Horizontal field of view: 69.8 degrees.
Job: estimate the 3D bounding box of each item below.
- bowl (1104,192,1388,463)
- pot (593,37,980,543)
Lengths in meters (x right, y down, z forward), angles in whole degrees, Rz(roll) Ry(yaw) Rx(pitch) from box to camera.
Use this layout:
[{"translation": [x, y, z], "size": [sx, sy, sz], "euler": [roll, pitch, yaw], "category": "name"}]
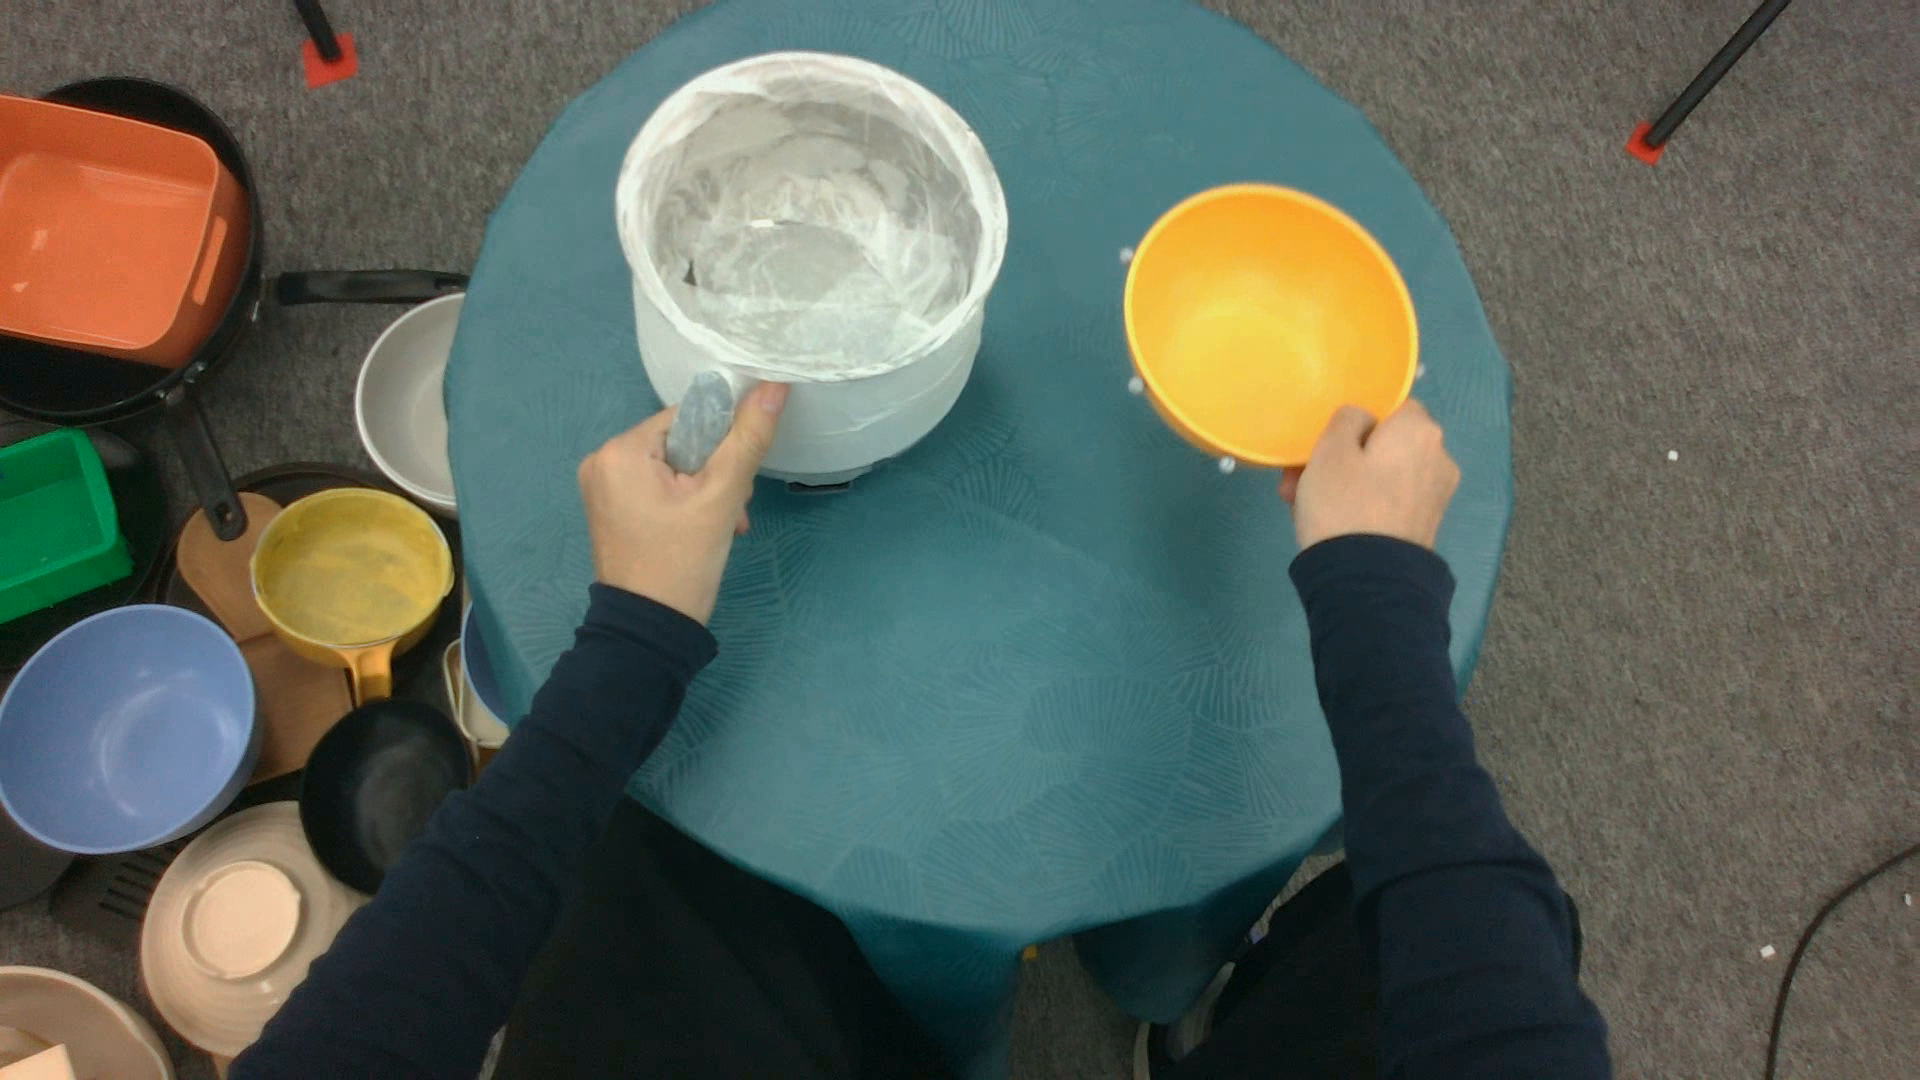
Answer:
[{"translation": [0.136, -0.098, 0.697], "size": [0.145, 0.060, 0.145], "euler": [3, 72, -9], "category": "bowl"}, {"translation": [-0.095, -0.114, 0.679], "size": [0.179, 0.136, 0.234], "euler": [22, 66, 3], "category": "pot"}]
